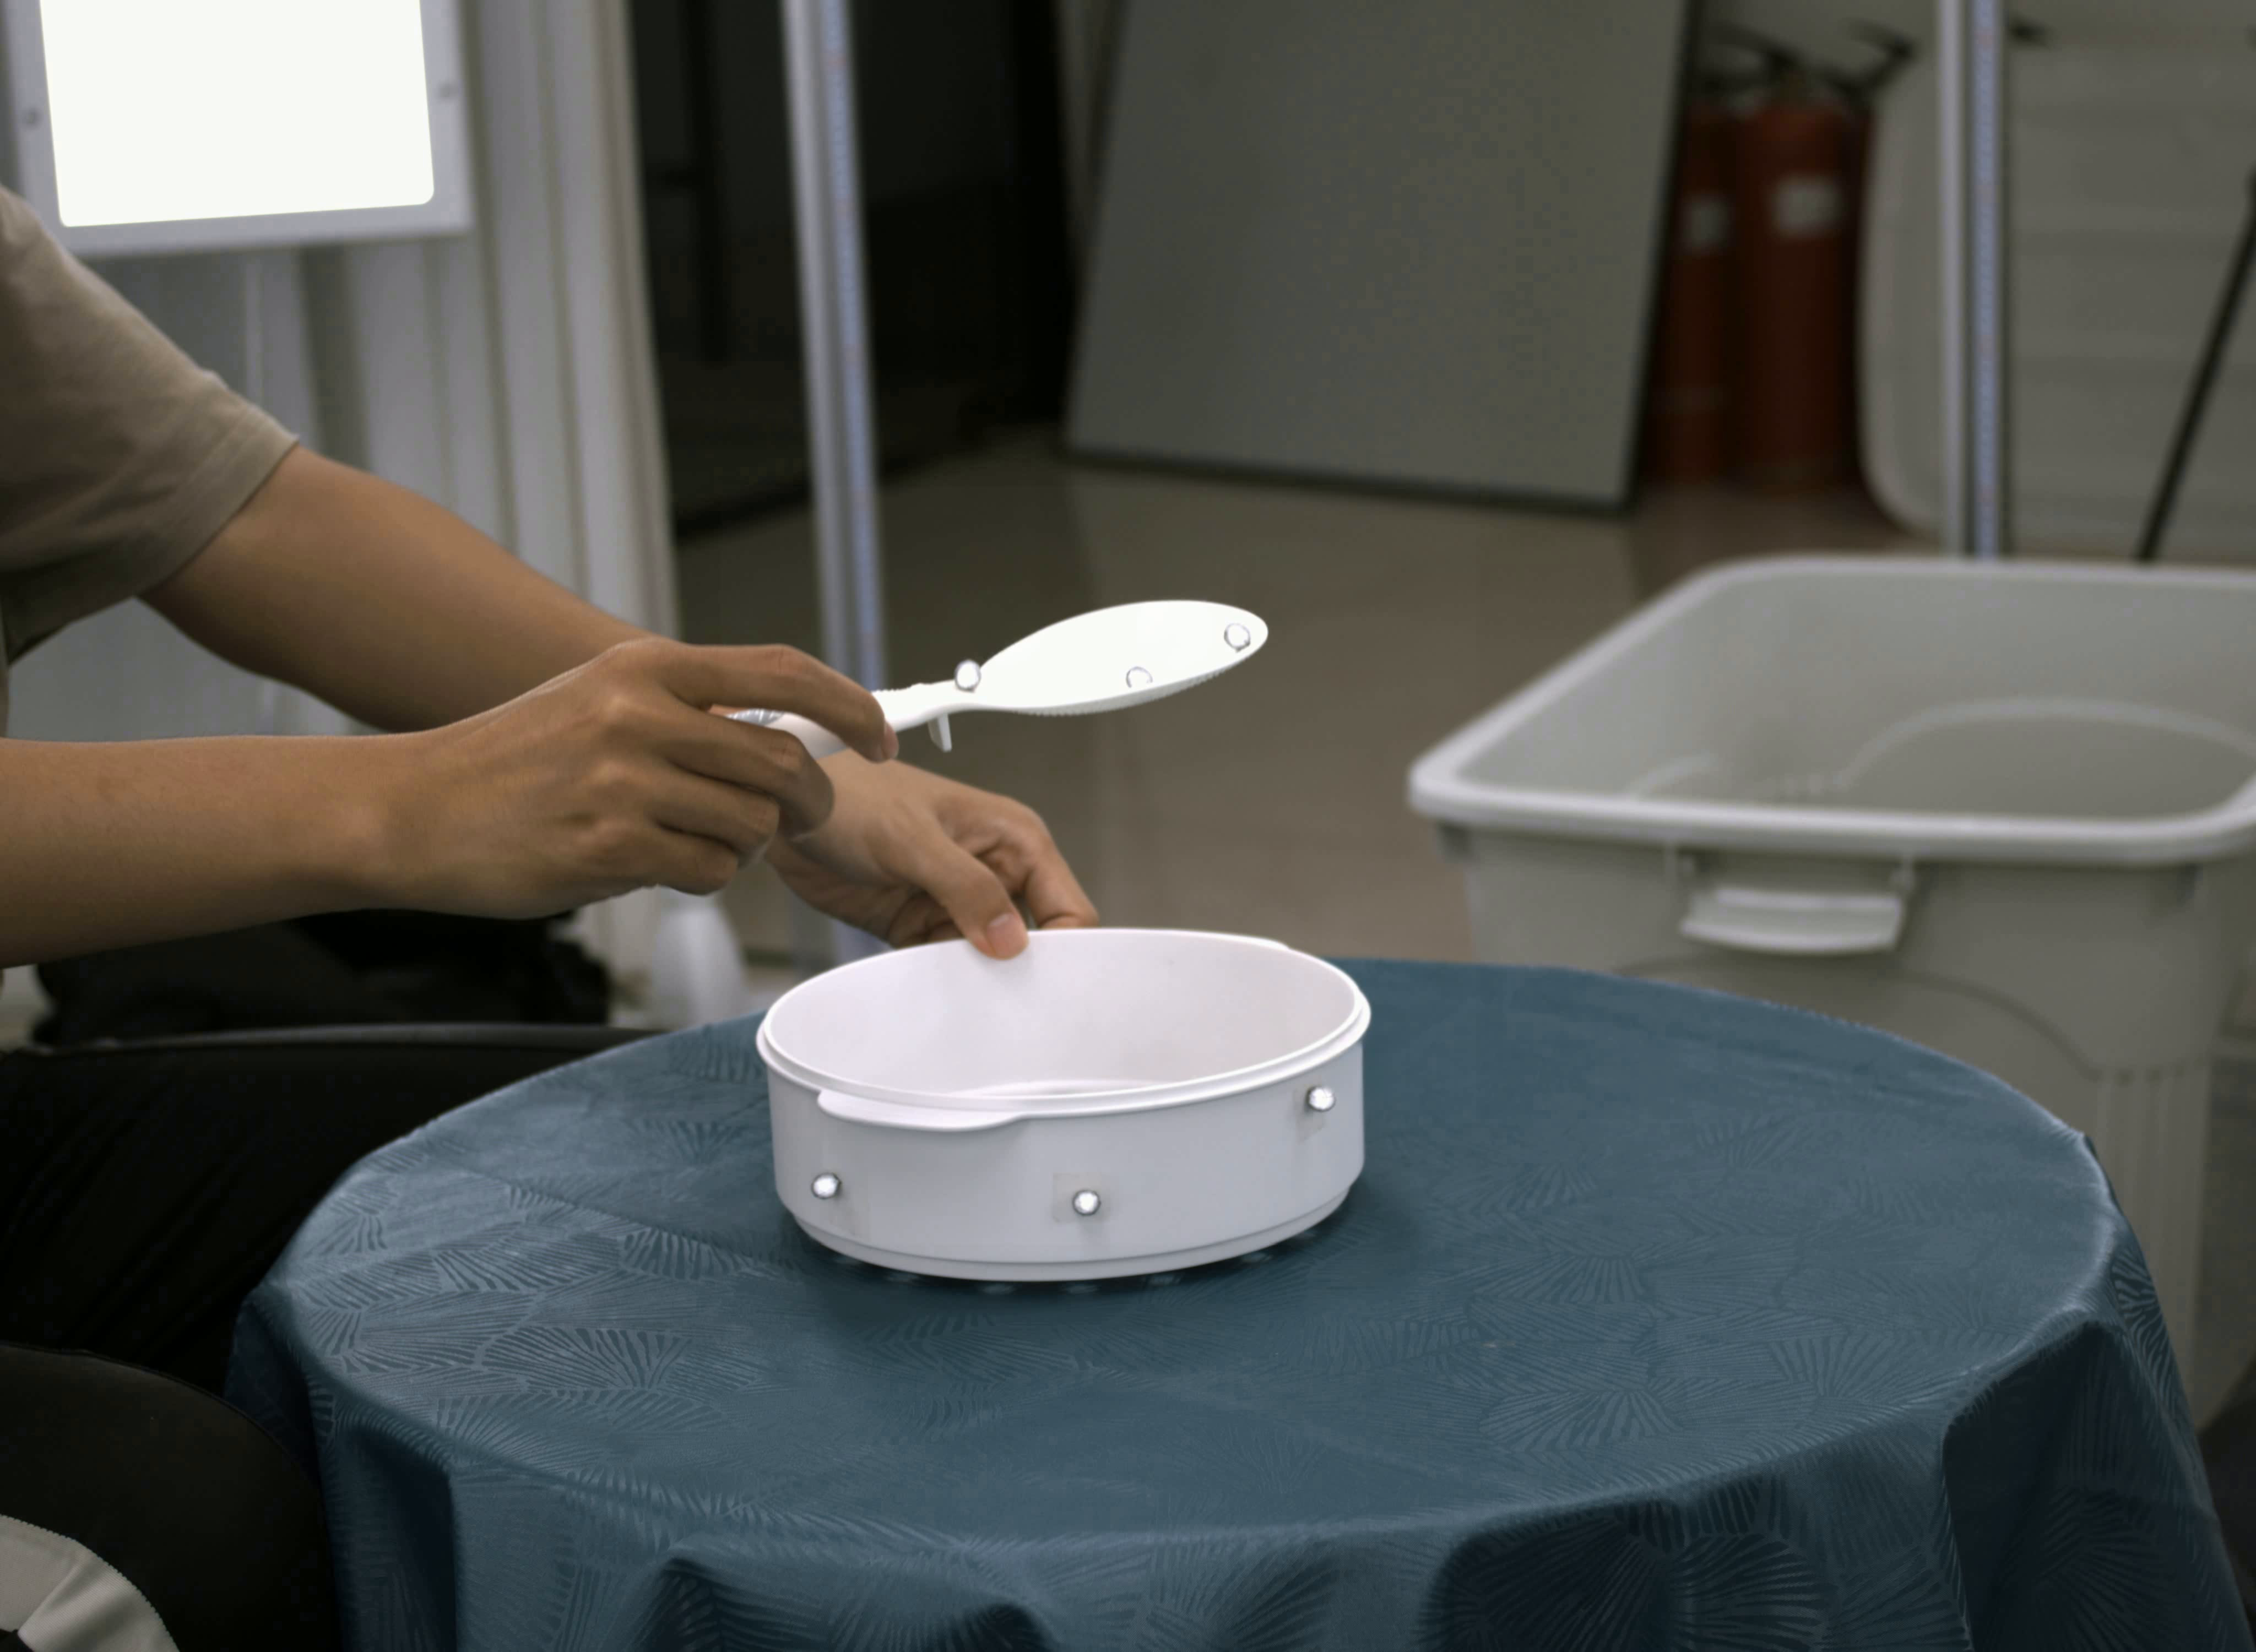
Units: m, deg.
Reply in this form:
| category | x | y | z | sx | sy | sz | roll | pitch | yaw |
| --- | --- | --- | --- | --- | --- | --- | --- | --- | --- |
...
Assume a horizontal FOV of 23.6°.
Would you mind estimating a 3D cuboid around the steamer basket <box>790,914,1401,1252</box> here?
| category | x | y | z | sx | sy | sz | roll | pitch | yaw |
| --- | --- | --- | --- | --- | --- | --- | --- | --- | --- |
| steamer basket | -0.010 | 0.084 | 1.763 | 0.202 | 0.070 | 0.227 | 5 | 14 | 29 |

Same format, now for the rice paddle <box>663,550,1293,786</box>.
| category | x | y | z | sx | sy | sz | roll | pitch | yaw |
| --- | --- | --- | --- | --- | --- | --- | --- | --- | --- |
| rice paddle | -0.043 | -0.055 | 1.655 | 0.201 | 0.029 | 0.069 | -17 | 26 | -16 |
